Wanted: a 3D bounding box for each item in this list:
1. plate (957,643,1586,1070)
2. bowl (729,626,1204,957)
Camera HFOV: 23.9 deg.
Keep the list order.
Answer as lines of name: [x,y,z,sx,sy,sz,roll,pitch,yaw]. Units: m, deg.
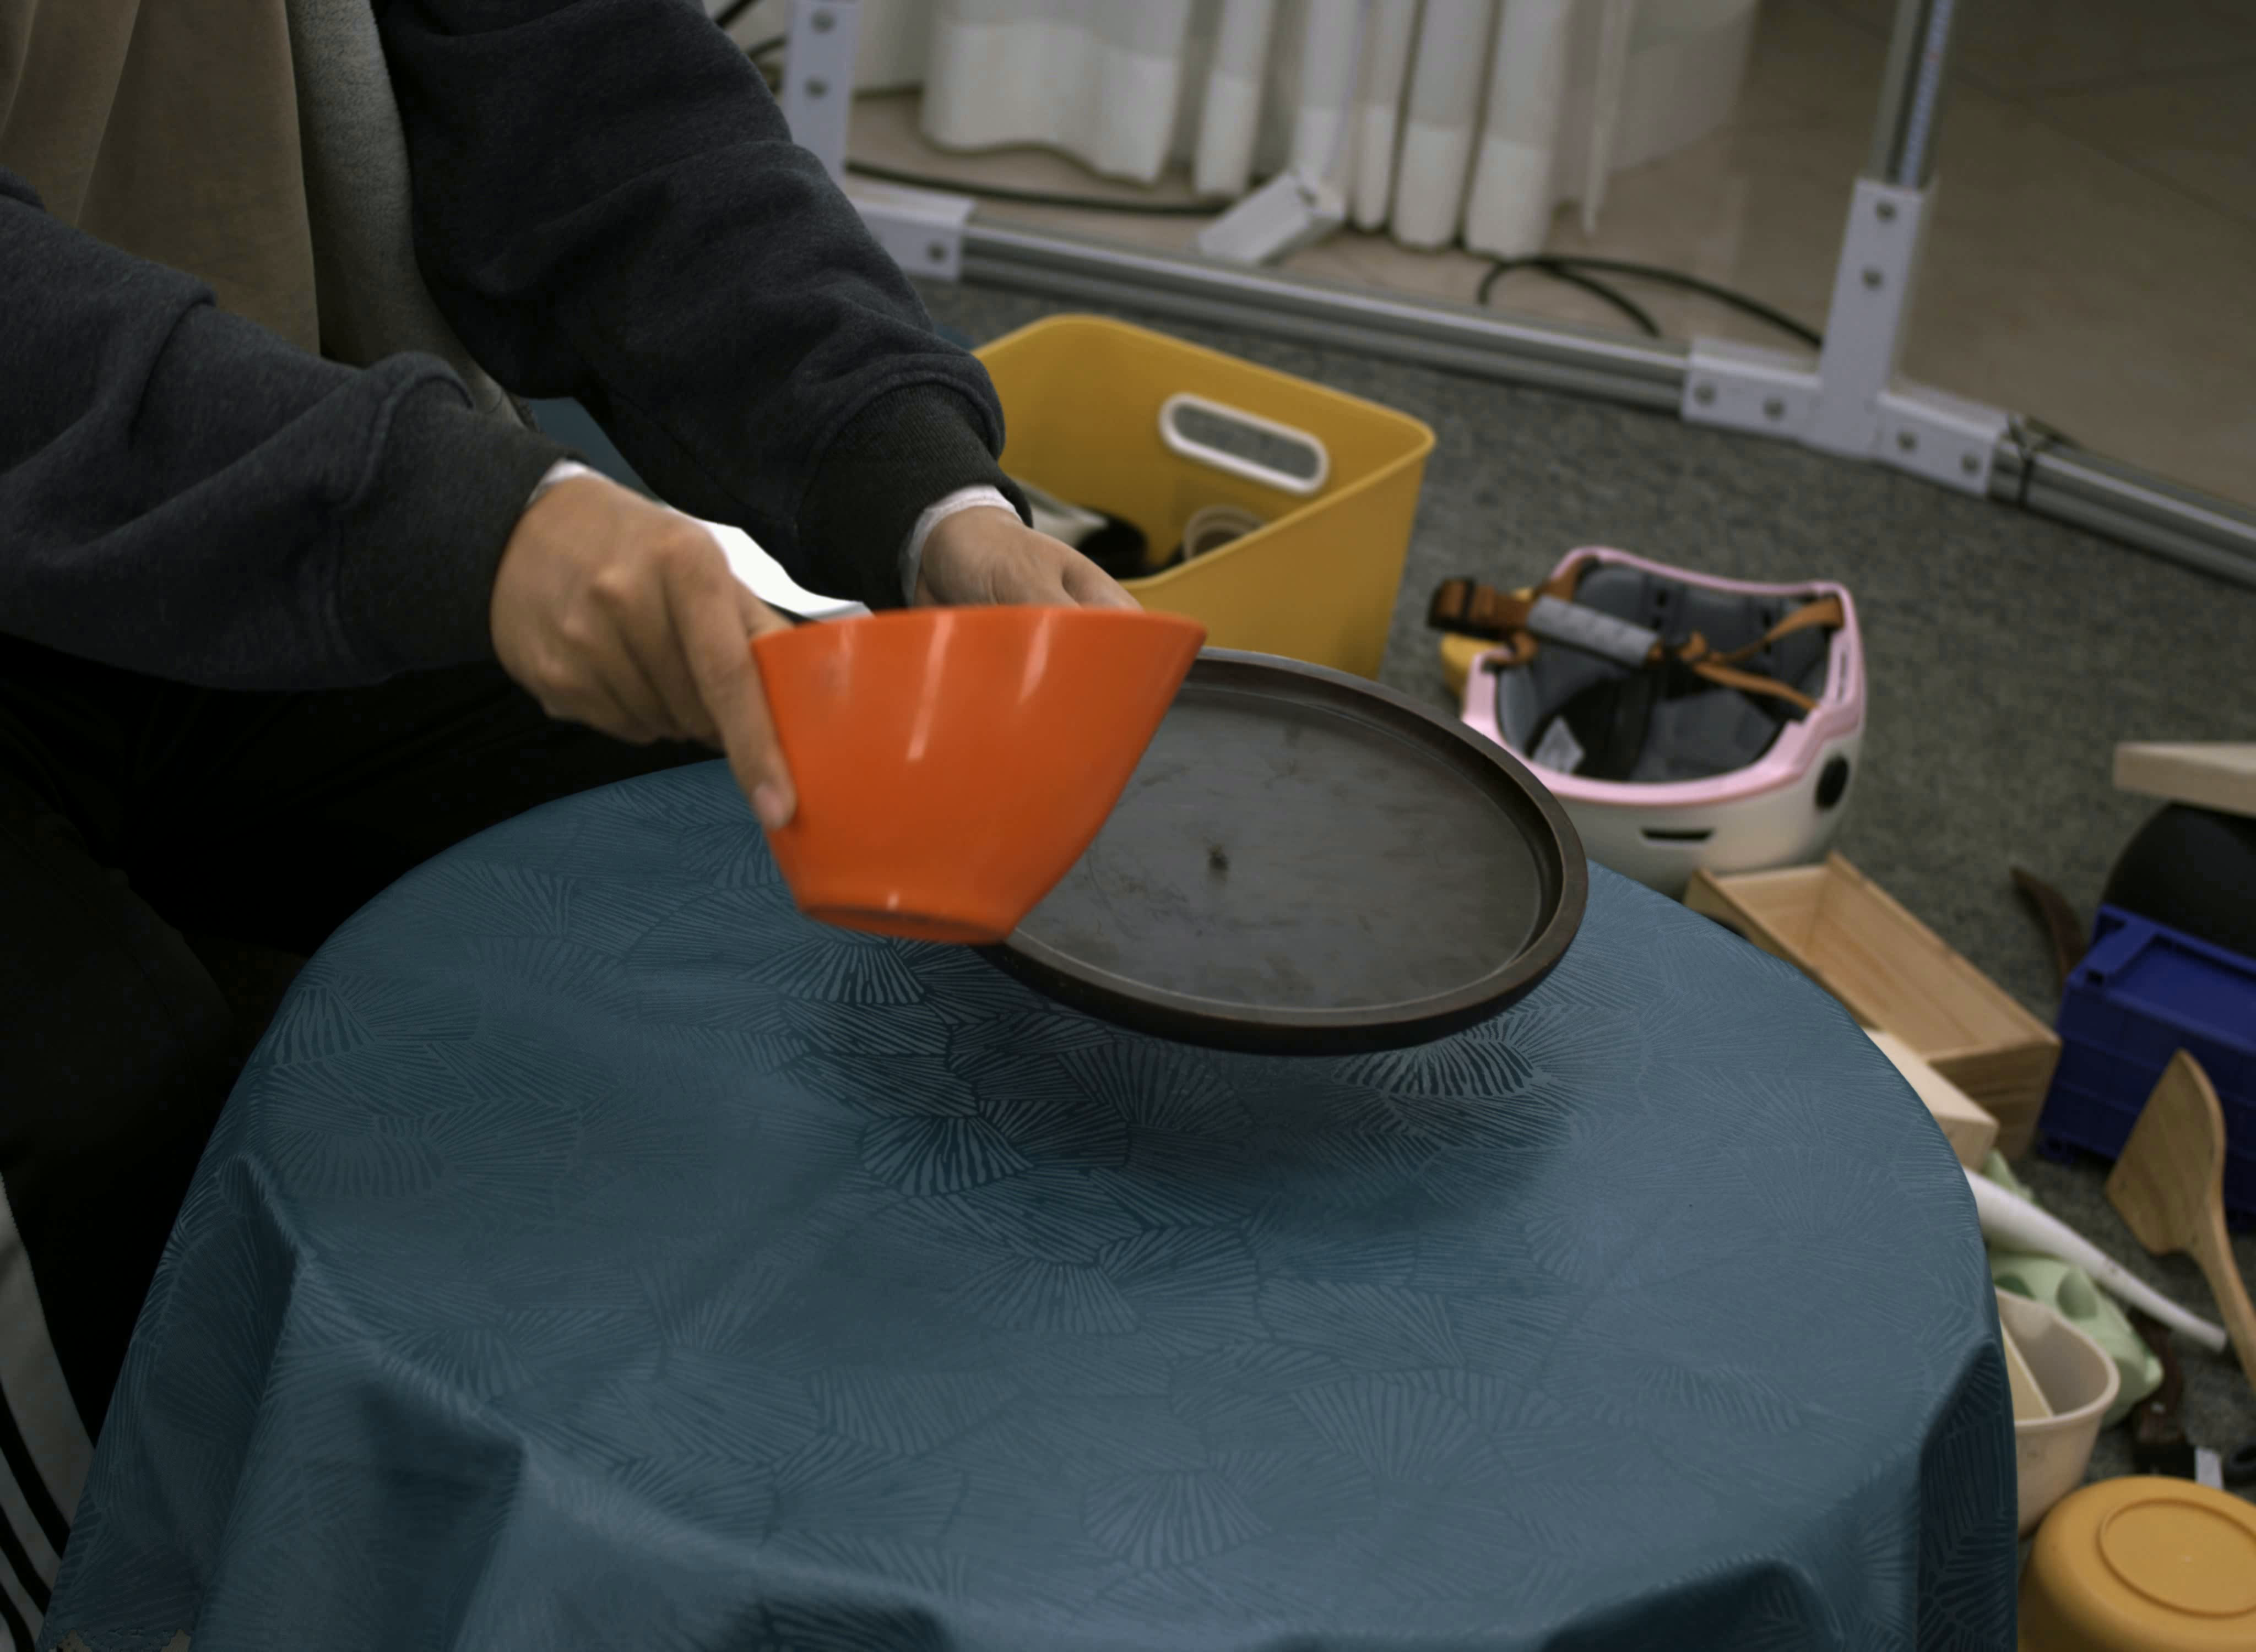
plate: [0.038,0.010,1.893,0.254,0.029,0.256,6,33,-4]
bowl: [-0.056,-0.014,1.665,0.147,0.105,0.148,8,-6,0]
